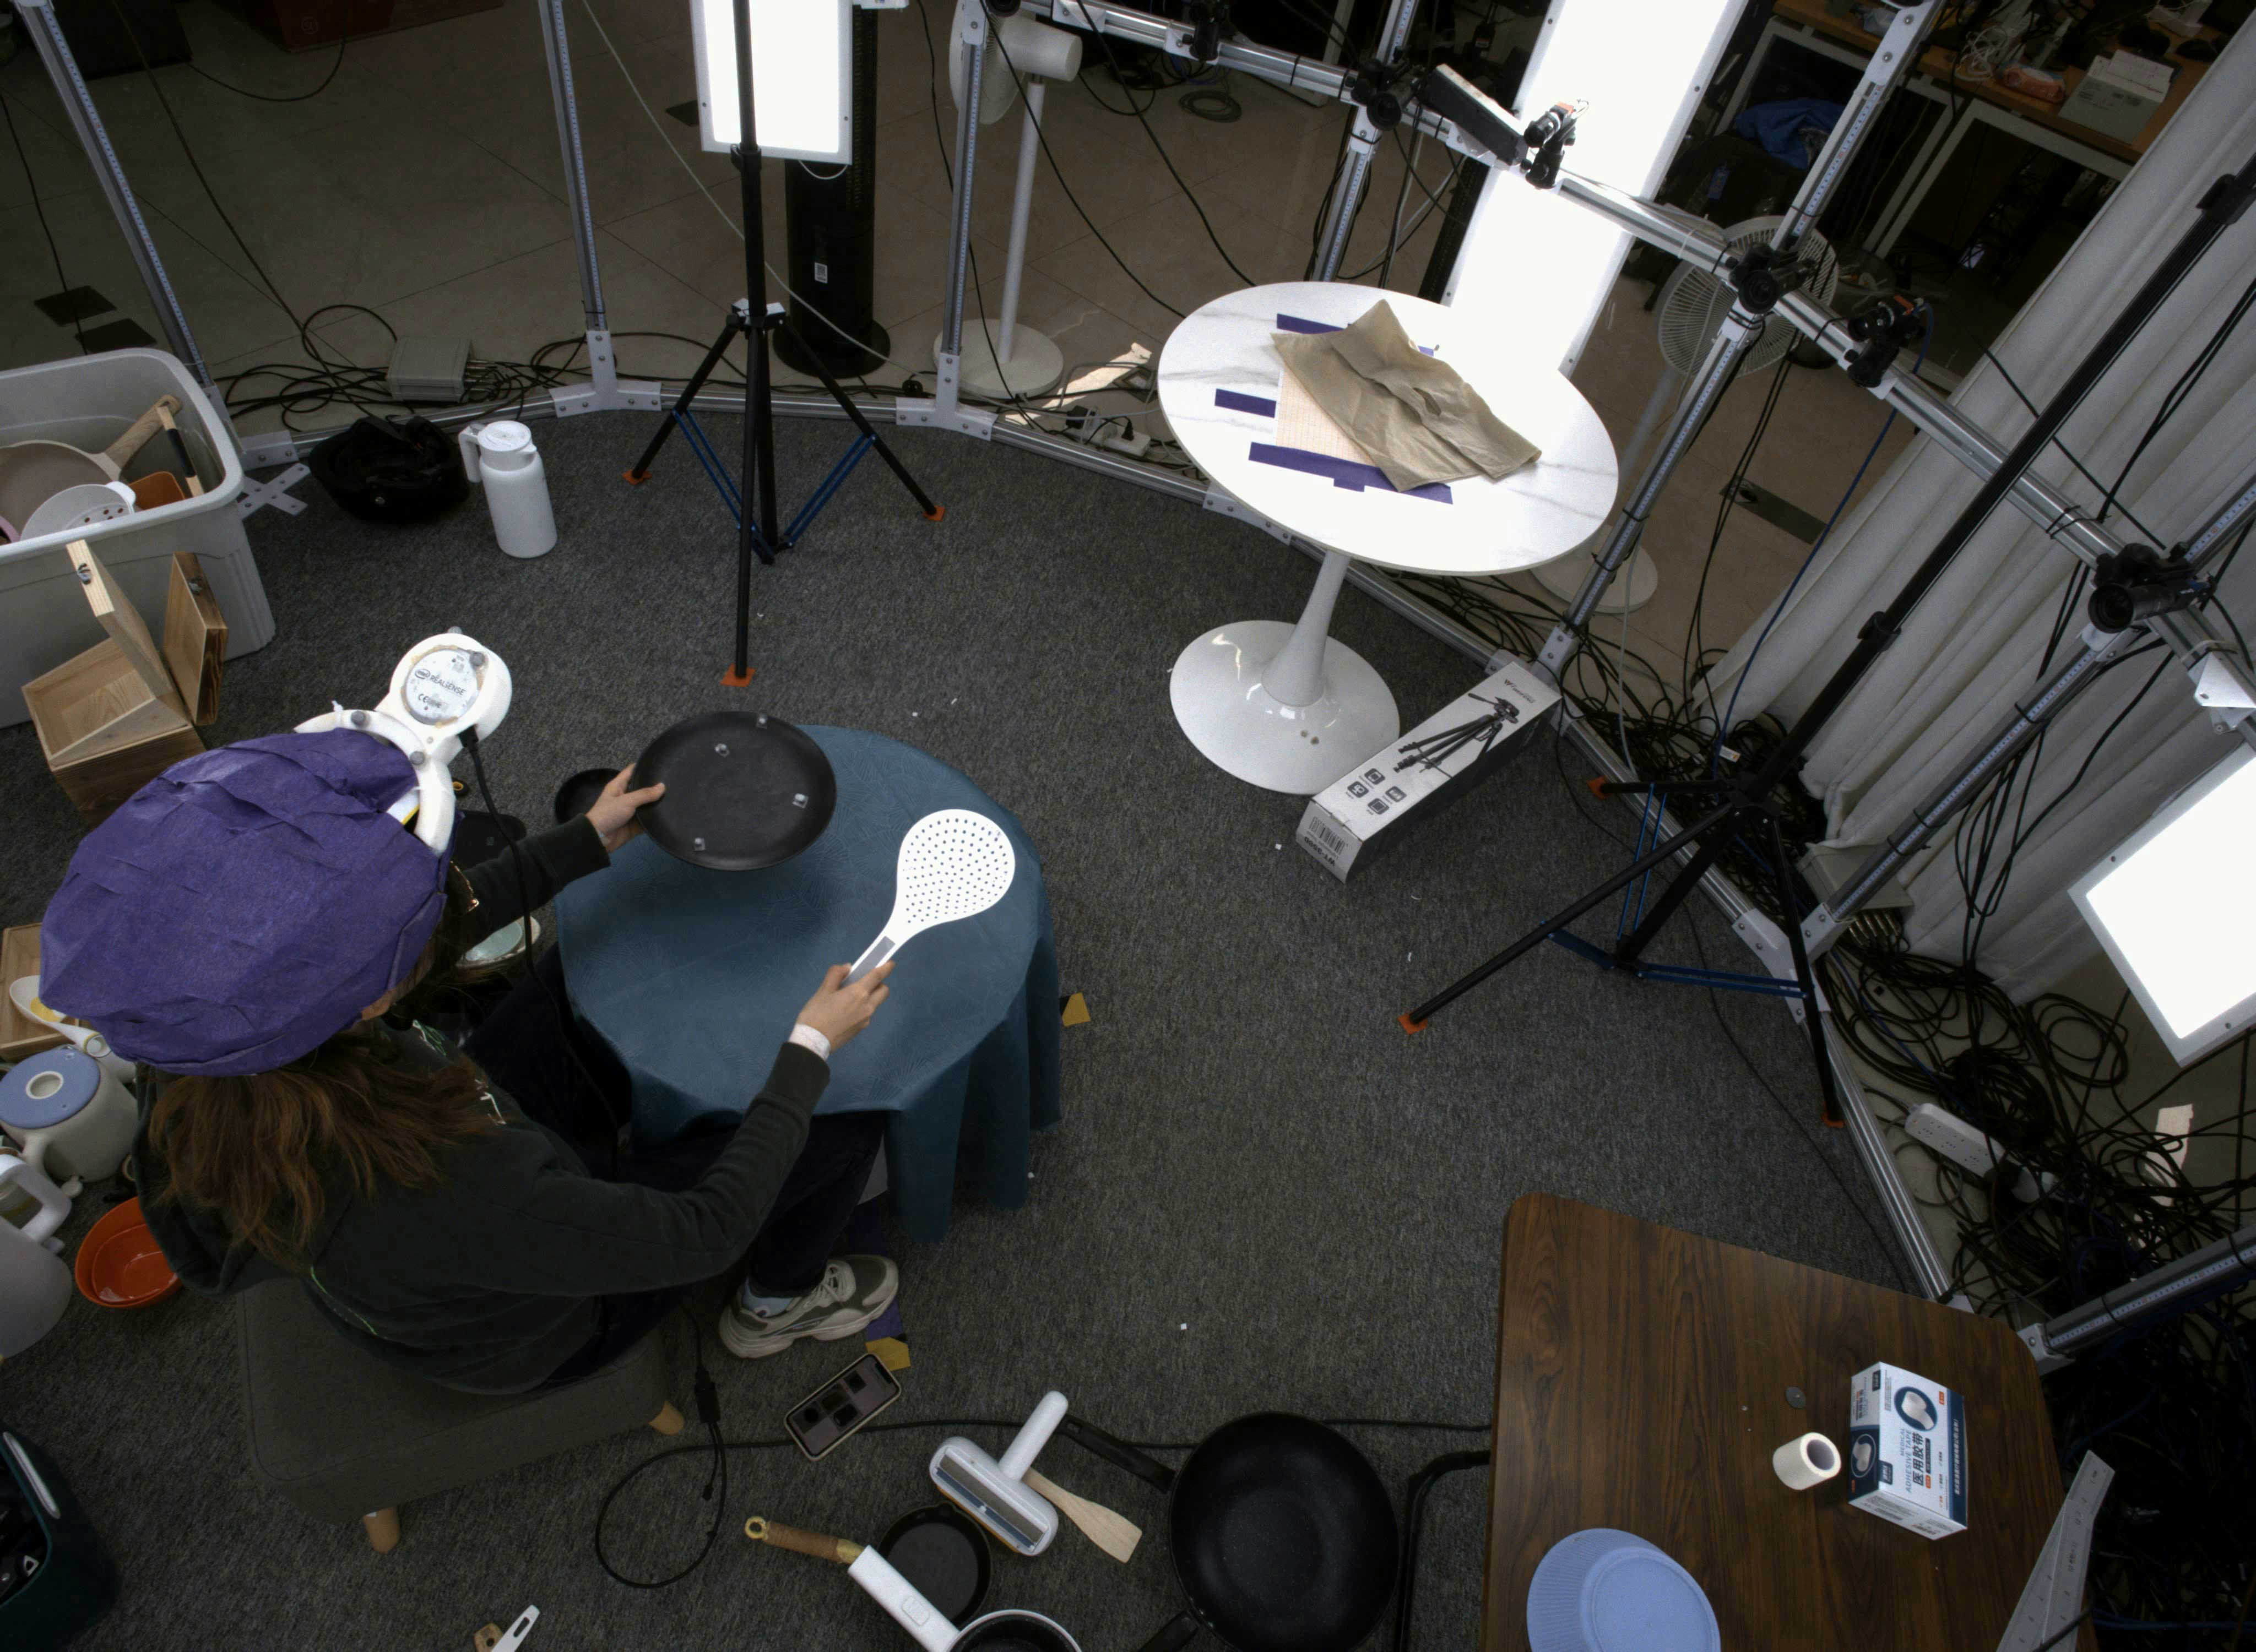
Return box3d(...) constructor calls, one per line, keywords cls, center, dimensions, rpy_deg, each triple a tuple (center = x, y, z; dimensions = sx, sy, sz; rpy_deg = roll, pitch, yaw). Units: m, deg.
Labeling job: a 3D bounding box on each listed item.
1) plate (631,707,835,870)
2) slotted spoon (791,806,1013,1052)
box3d(cls="plate", center=(-0.481, -0.045, 1.575), dimensions=(0.245, 0.024, 0.240), rpy_deg=(10, 54, -12))
box3d(cls="slotted spoon", center=(-0.265, 0.117, 1.499), dimensions=(0.135, 0.046, 0.349), rpy_deg=(36, 59, 4))
